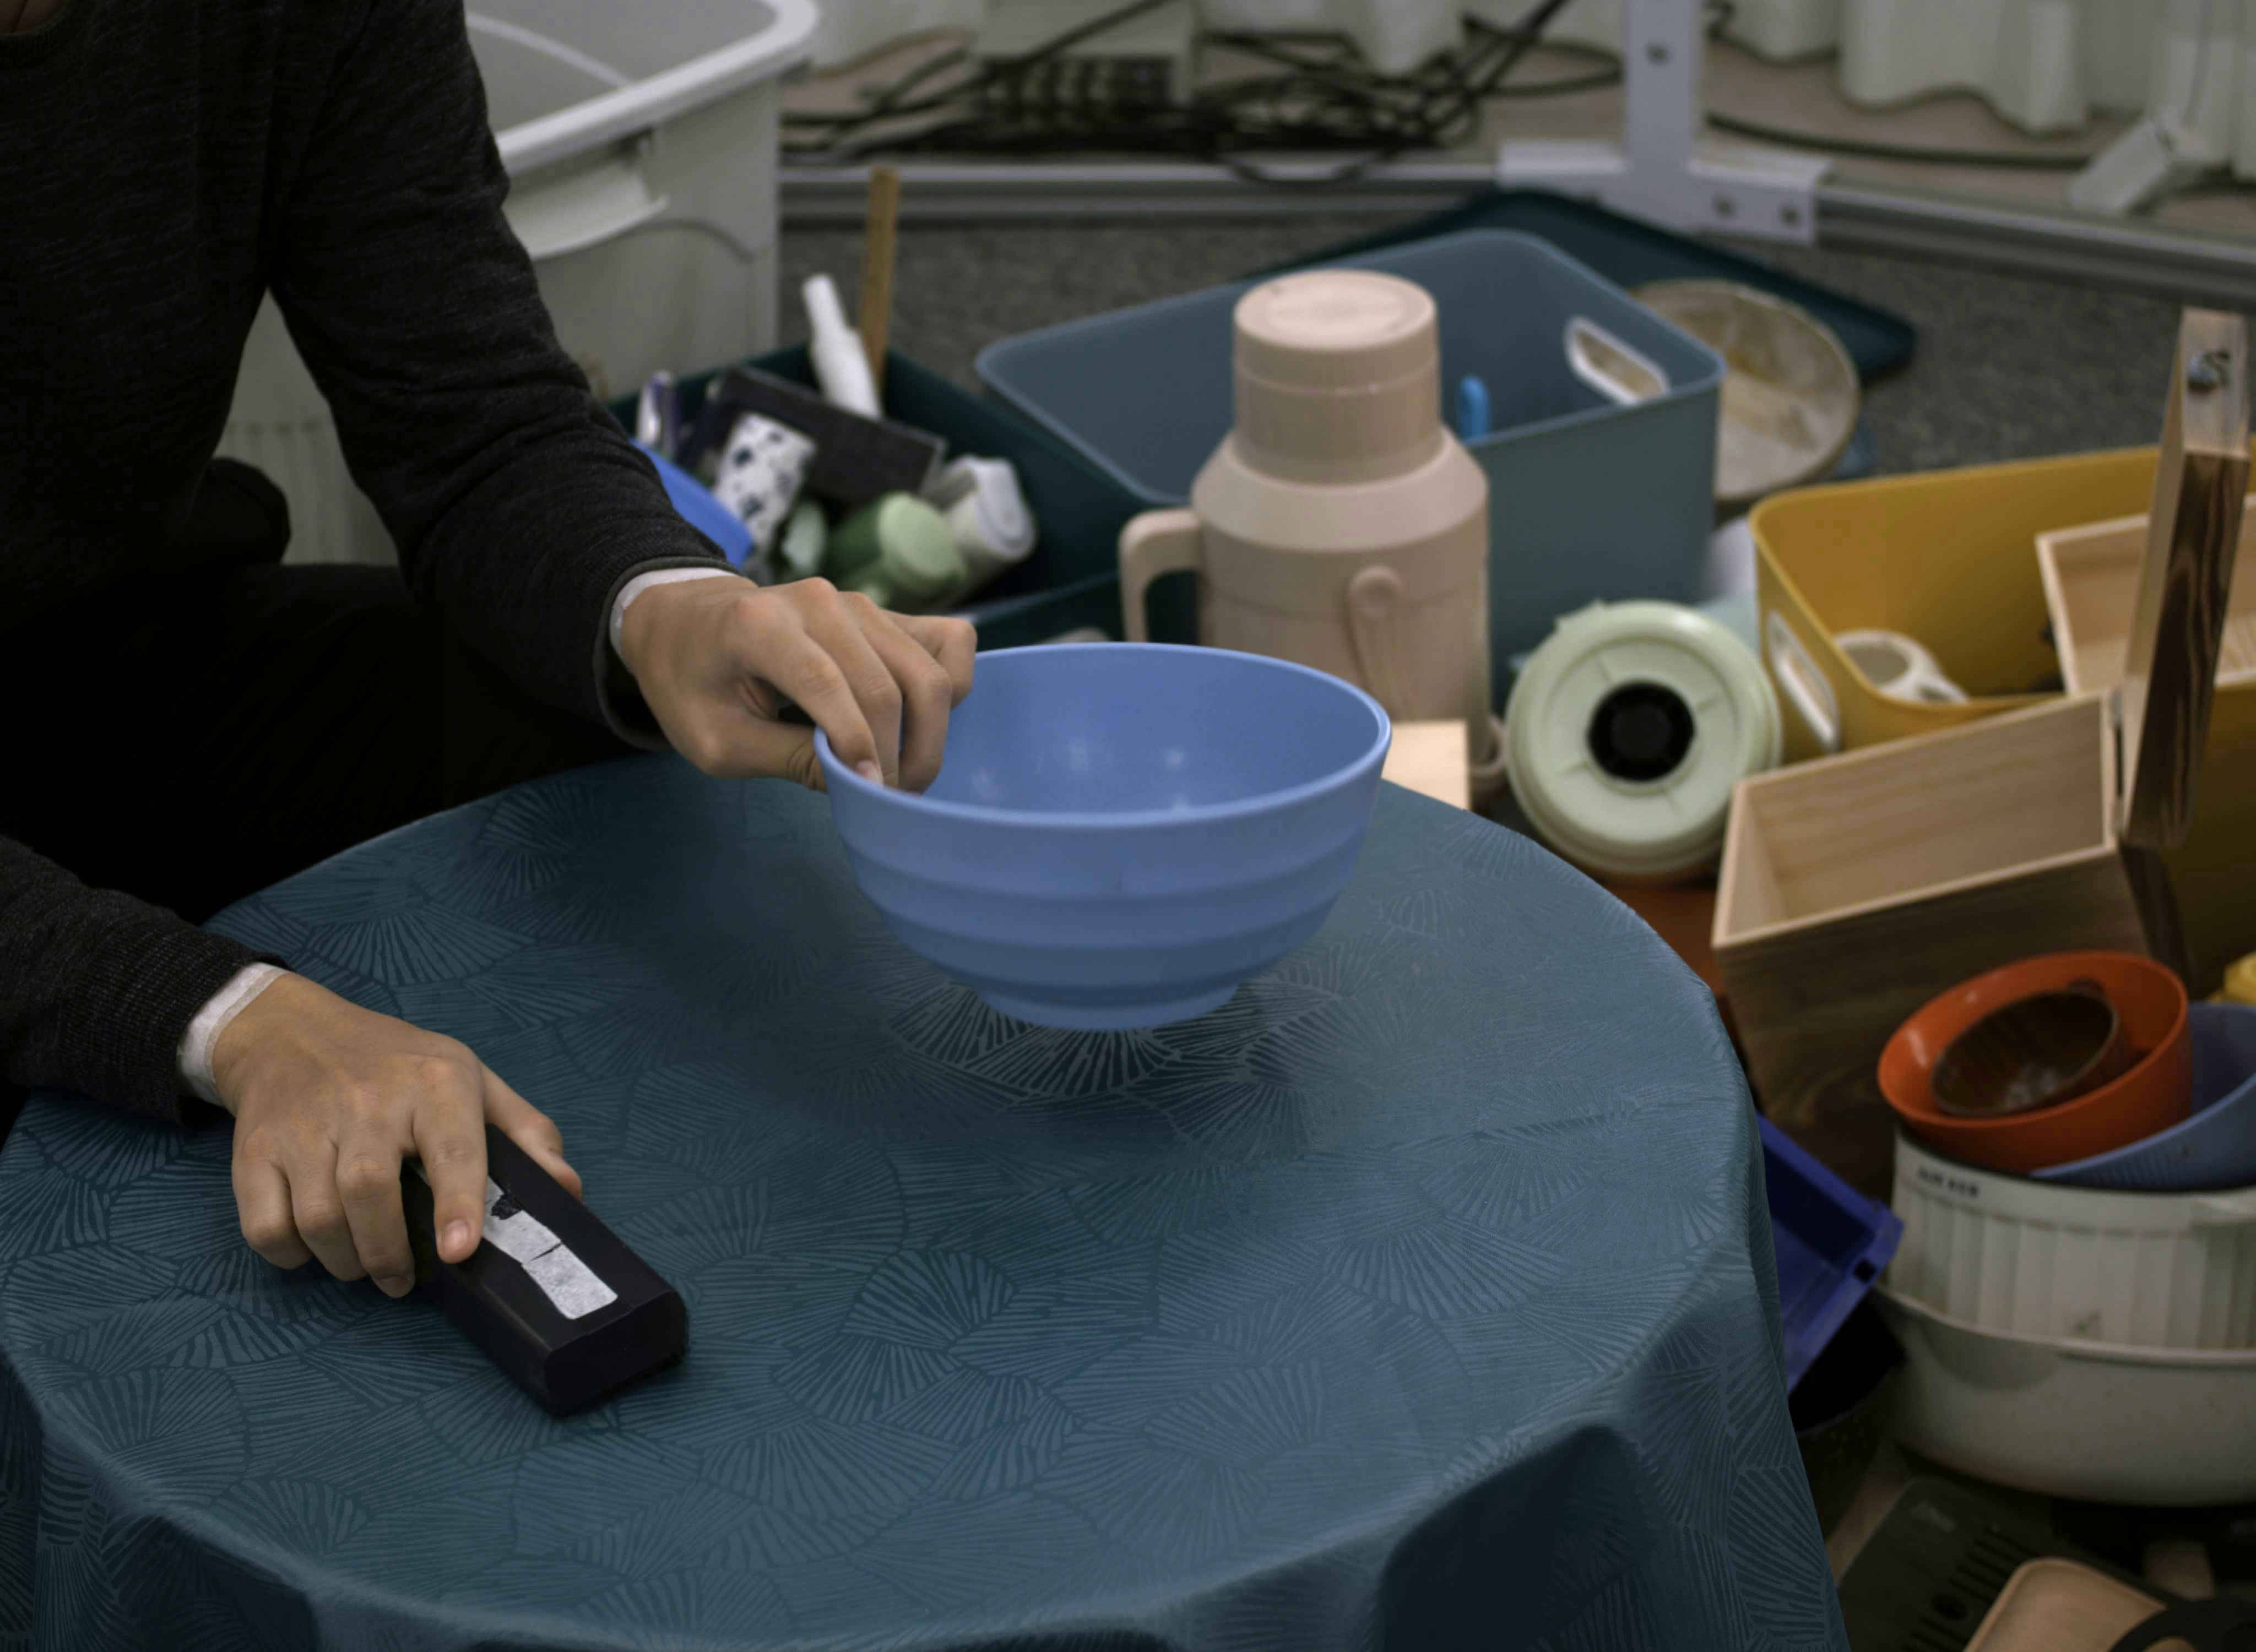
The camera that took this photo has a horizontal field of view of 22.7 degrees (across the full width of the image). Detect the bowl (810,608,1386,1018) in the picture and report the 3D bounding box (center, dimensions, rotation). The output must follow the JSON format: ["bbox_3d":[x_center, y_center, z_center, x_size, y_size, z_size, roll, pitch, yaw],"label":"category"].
[{"bbox_3d":[-0.008,0.004,1.924,0.195,0.094,0.199,-3,23,1],"label":"bowl"}]

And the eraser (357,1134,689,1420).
[{"bbox_3d":[-0.193,0.144,1.798,0.054,0.030,0.126,-24,36,-28],"label":"eraser"}]
